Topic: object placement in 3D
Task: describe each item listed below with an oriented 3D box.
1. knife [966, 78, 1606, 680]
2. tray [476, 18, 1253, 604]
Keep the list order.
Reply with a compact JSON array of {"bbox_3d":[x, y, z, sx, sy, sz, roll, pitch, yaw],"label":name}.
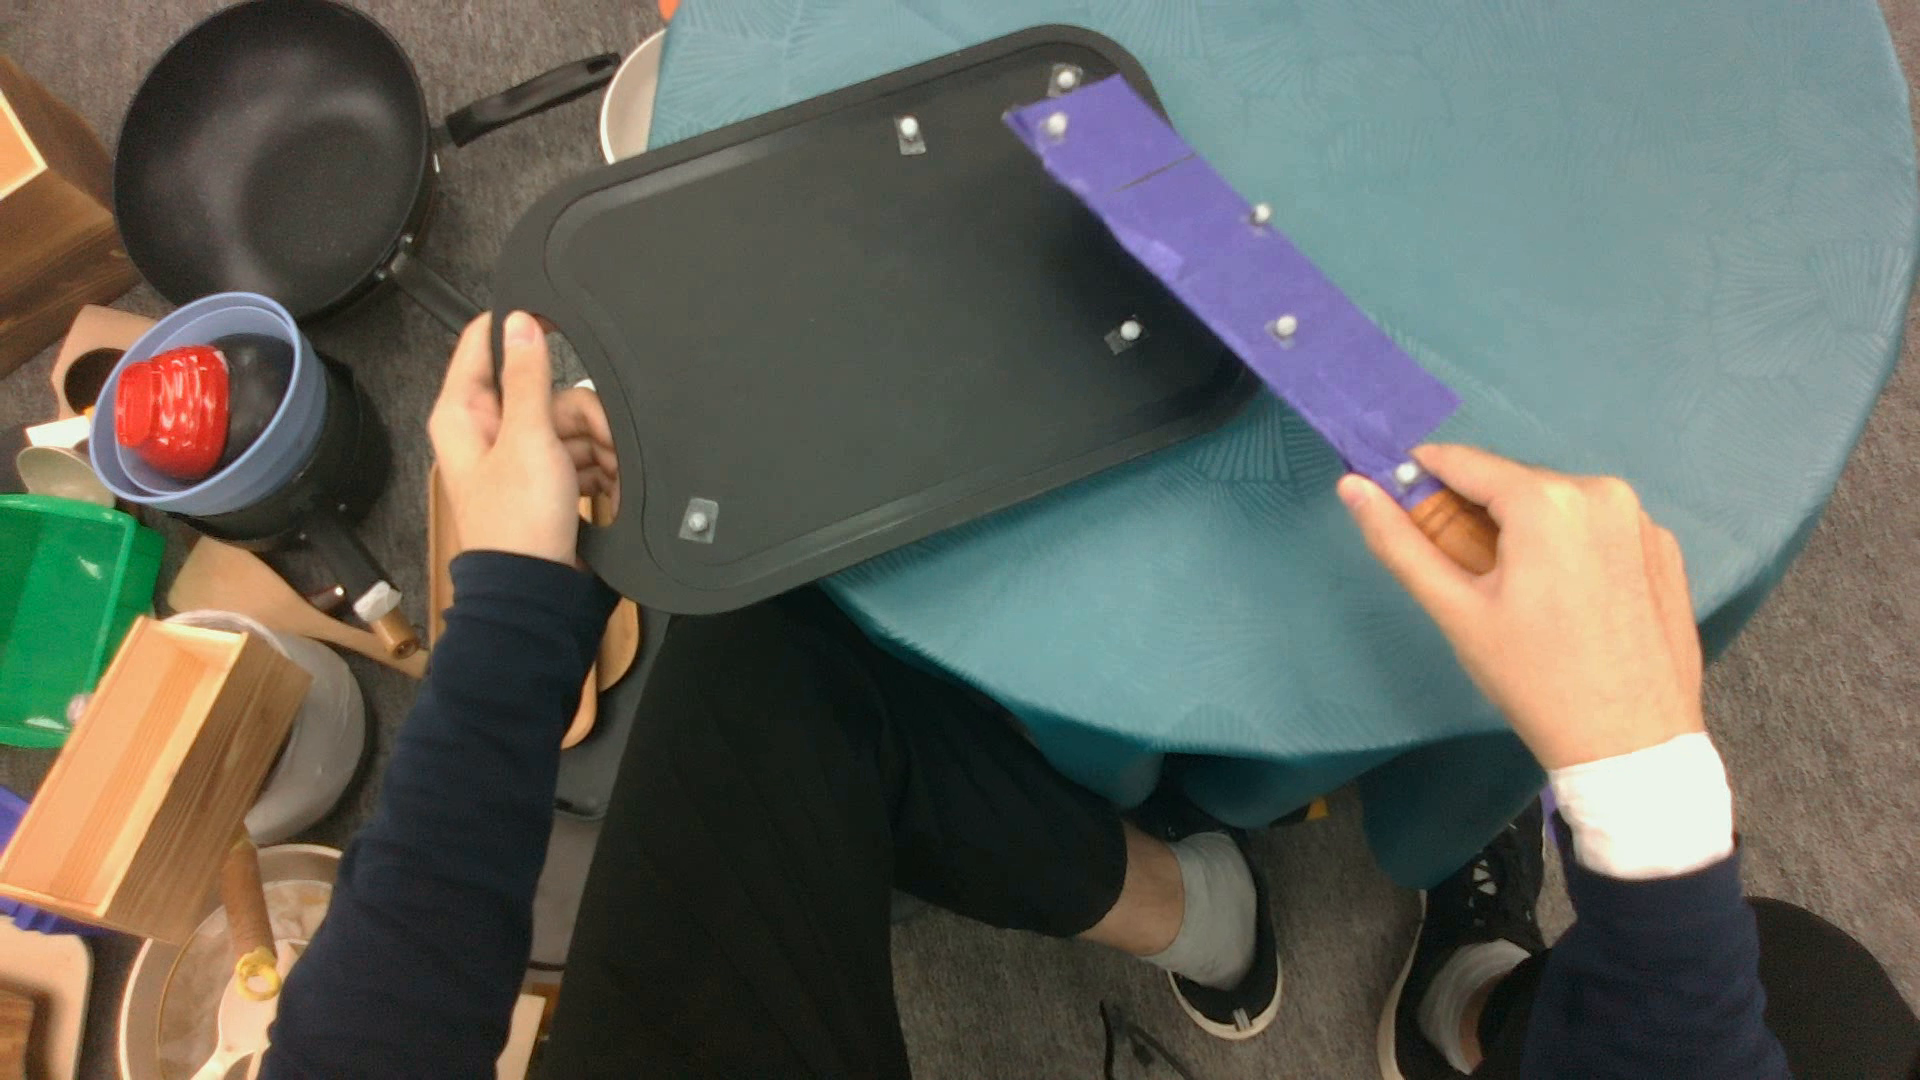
[{"bbox_3d":[0.138,-0.081,0.553,0.315,0.032,0.104,47,46,10],"label":"knife"},{"bbox_3d":[-0.046,-0.104,0.600,0.326,0.010,0.211,-20,77,-7],"label":"tray"}]
